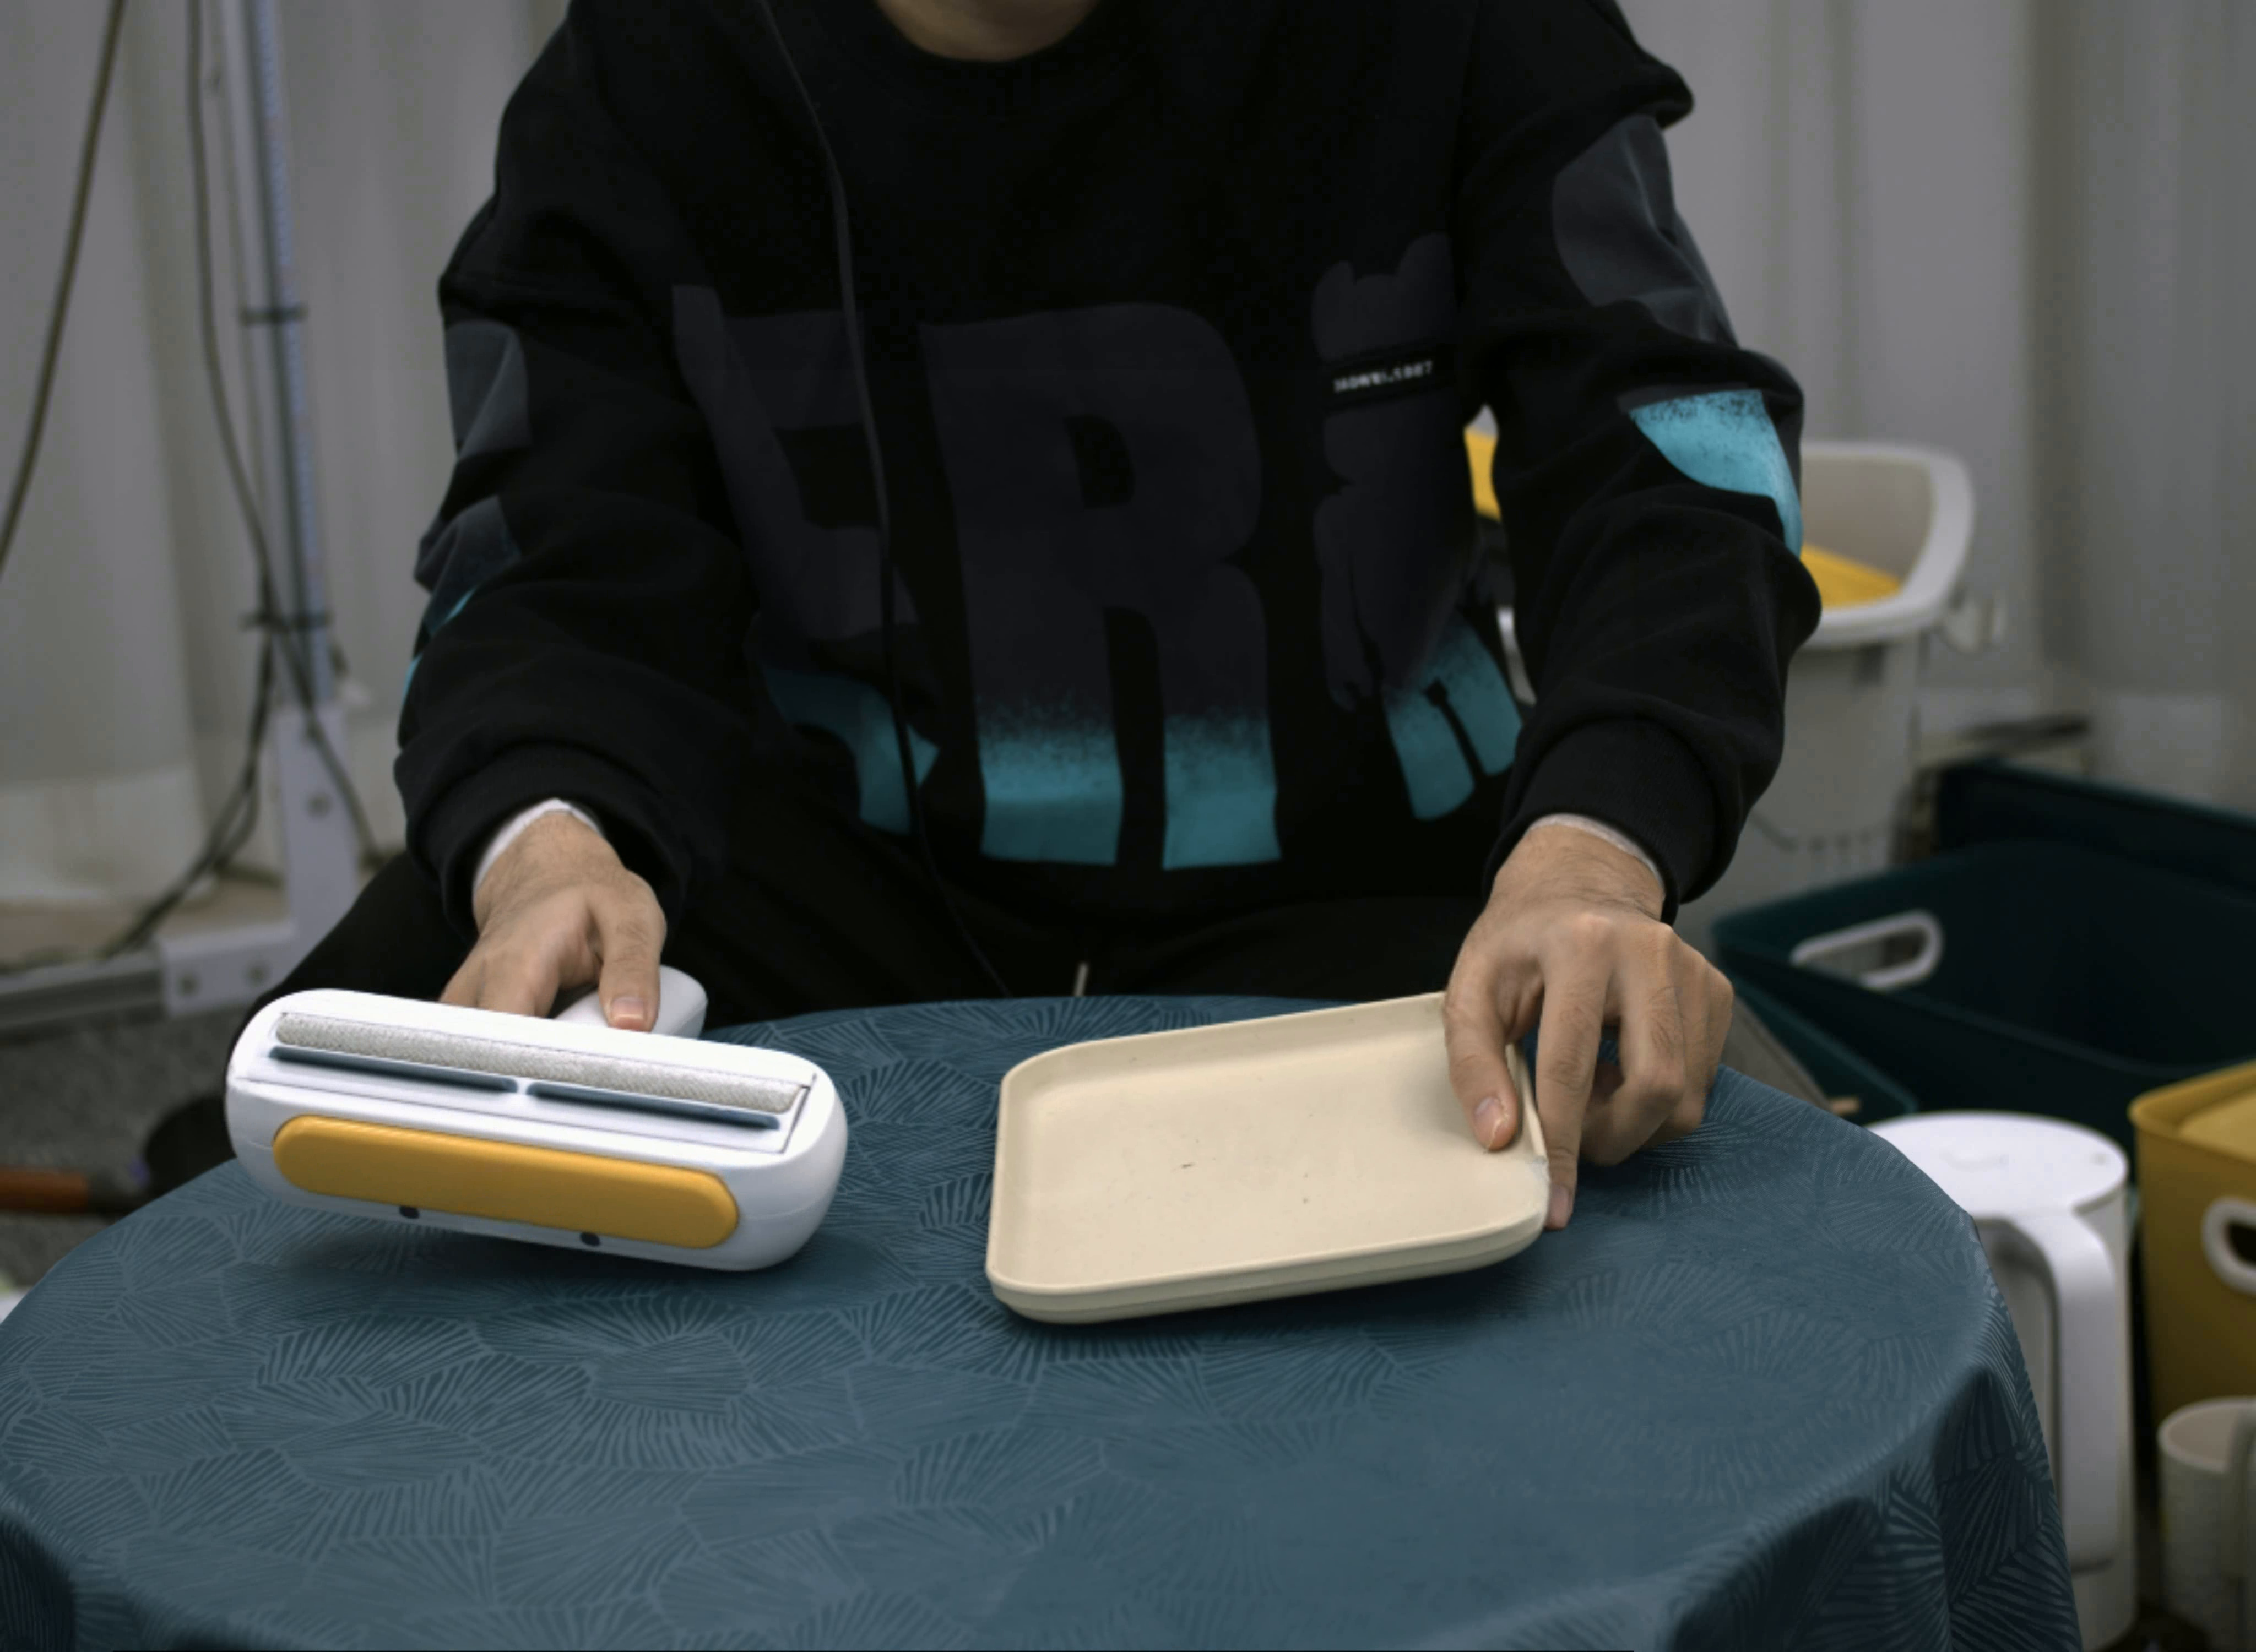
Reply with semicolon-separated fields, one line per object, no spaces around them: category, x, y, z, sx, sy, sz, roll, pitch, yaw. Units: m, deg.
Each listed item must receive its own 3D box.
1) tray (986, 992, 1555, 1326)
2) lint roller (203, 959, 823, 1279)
tray;0.043;0.102;1.692;0.171;0.017;0.241;-9;15;3
lint roller;-0.174;0.075;1.731;0.193;0.073;0.194;5;25;13
